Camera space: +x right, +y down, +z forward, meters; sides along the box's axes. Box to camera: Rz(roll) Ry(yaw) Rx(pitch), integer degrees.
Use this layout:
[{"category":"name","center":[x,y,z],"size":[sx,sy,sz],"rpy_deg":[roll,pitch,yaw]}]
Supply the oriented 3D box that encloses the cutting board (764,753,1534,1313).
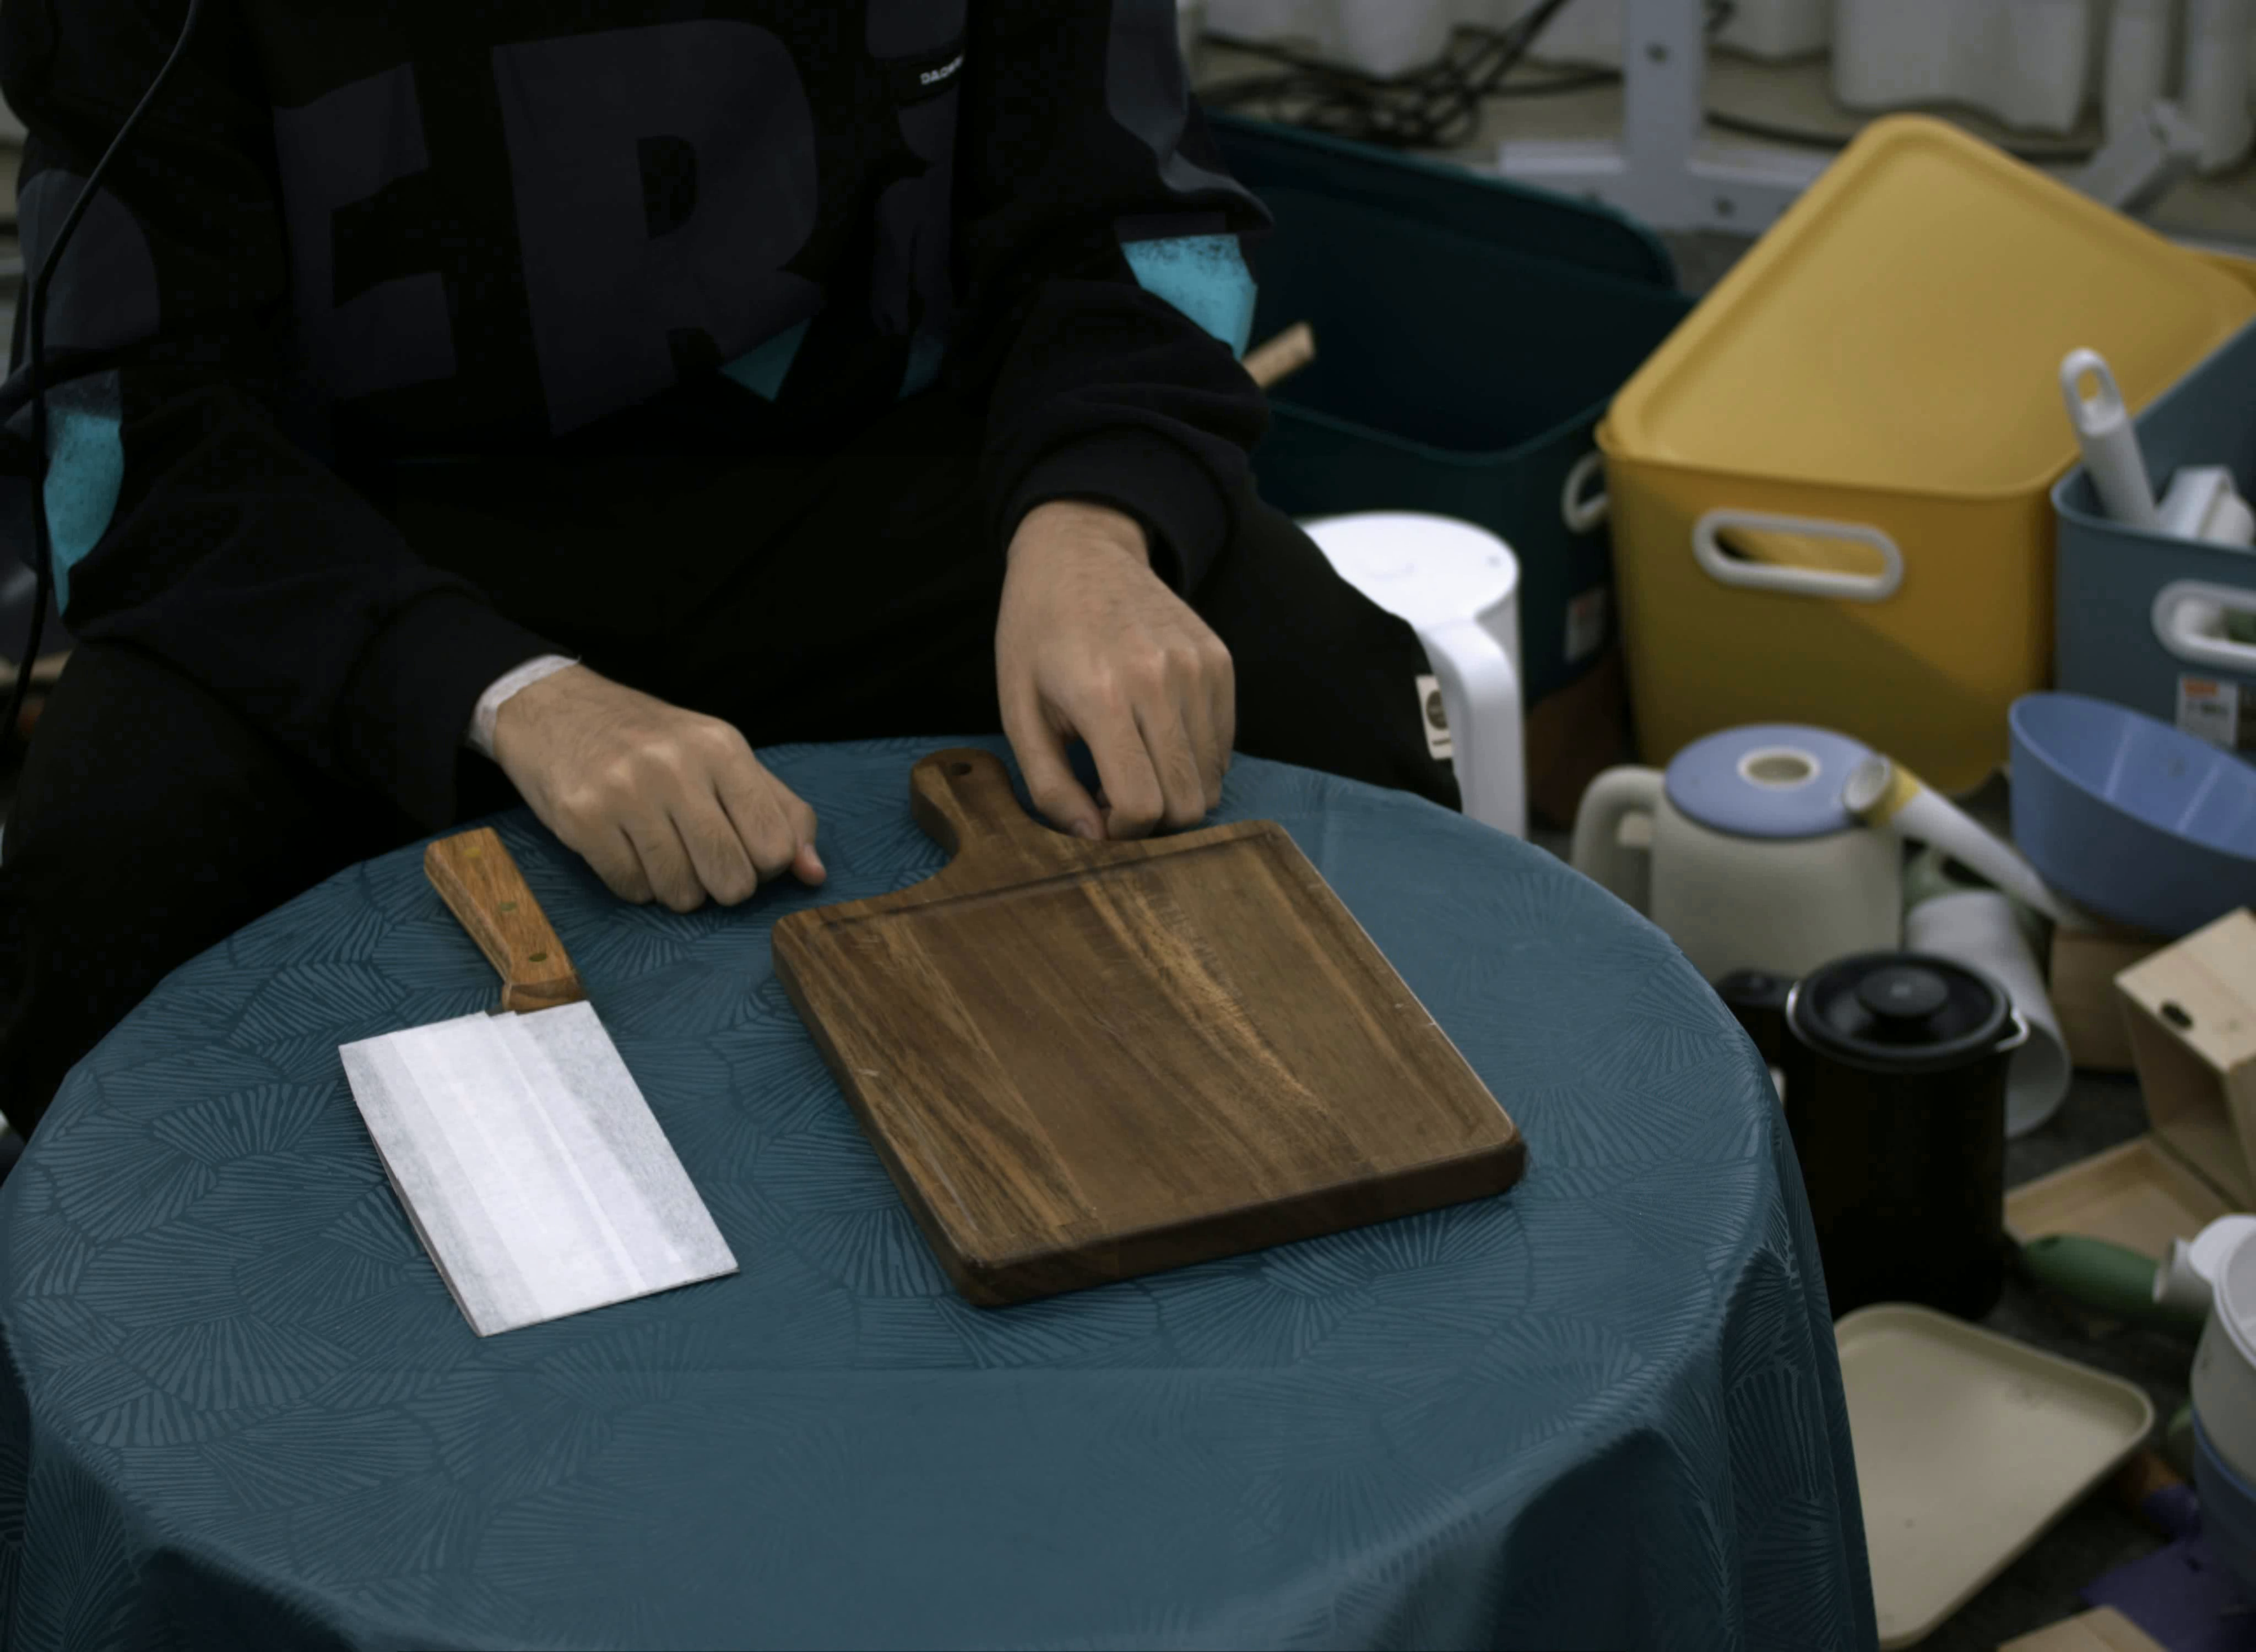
[{"category":"cutting board","center":[-0.014,0.056,1.968],"size":[0.201,0.023,0.355],"rpy_deg":[-11,28,-15]}]

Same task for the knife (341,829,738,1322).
[{"category":"knife","center":[-0.219,0.085,1.938],"size":[0.093,0.021,0.308],"rpy_deg":[-13,31,-16]}]
